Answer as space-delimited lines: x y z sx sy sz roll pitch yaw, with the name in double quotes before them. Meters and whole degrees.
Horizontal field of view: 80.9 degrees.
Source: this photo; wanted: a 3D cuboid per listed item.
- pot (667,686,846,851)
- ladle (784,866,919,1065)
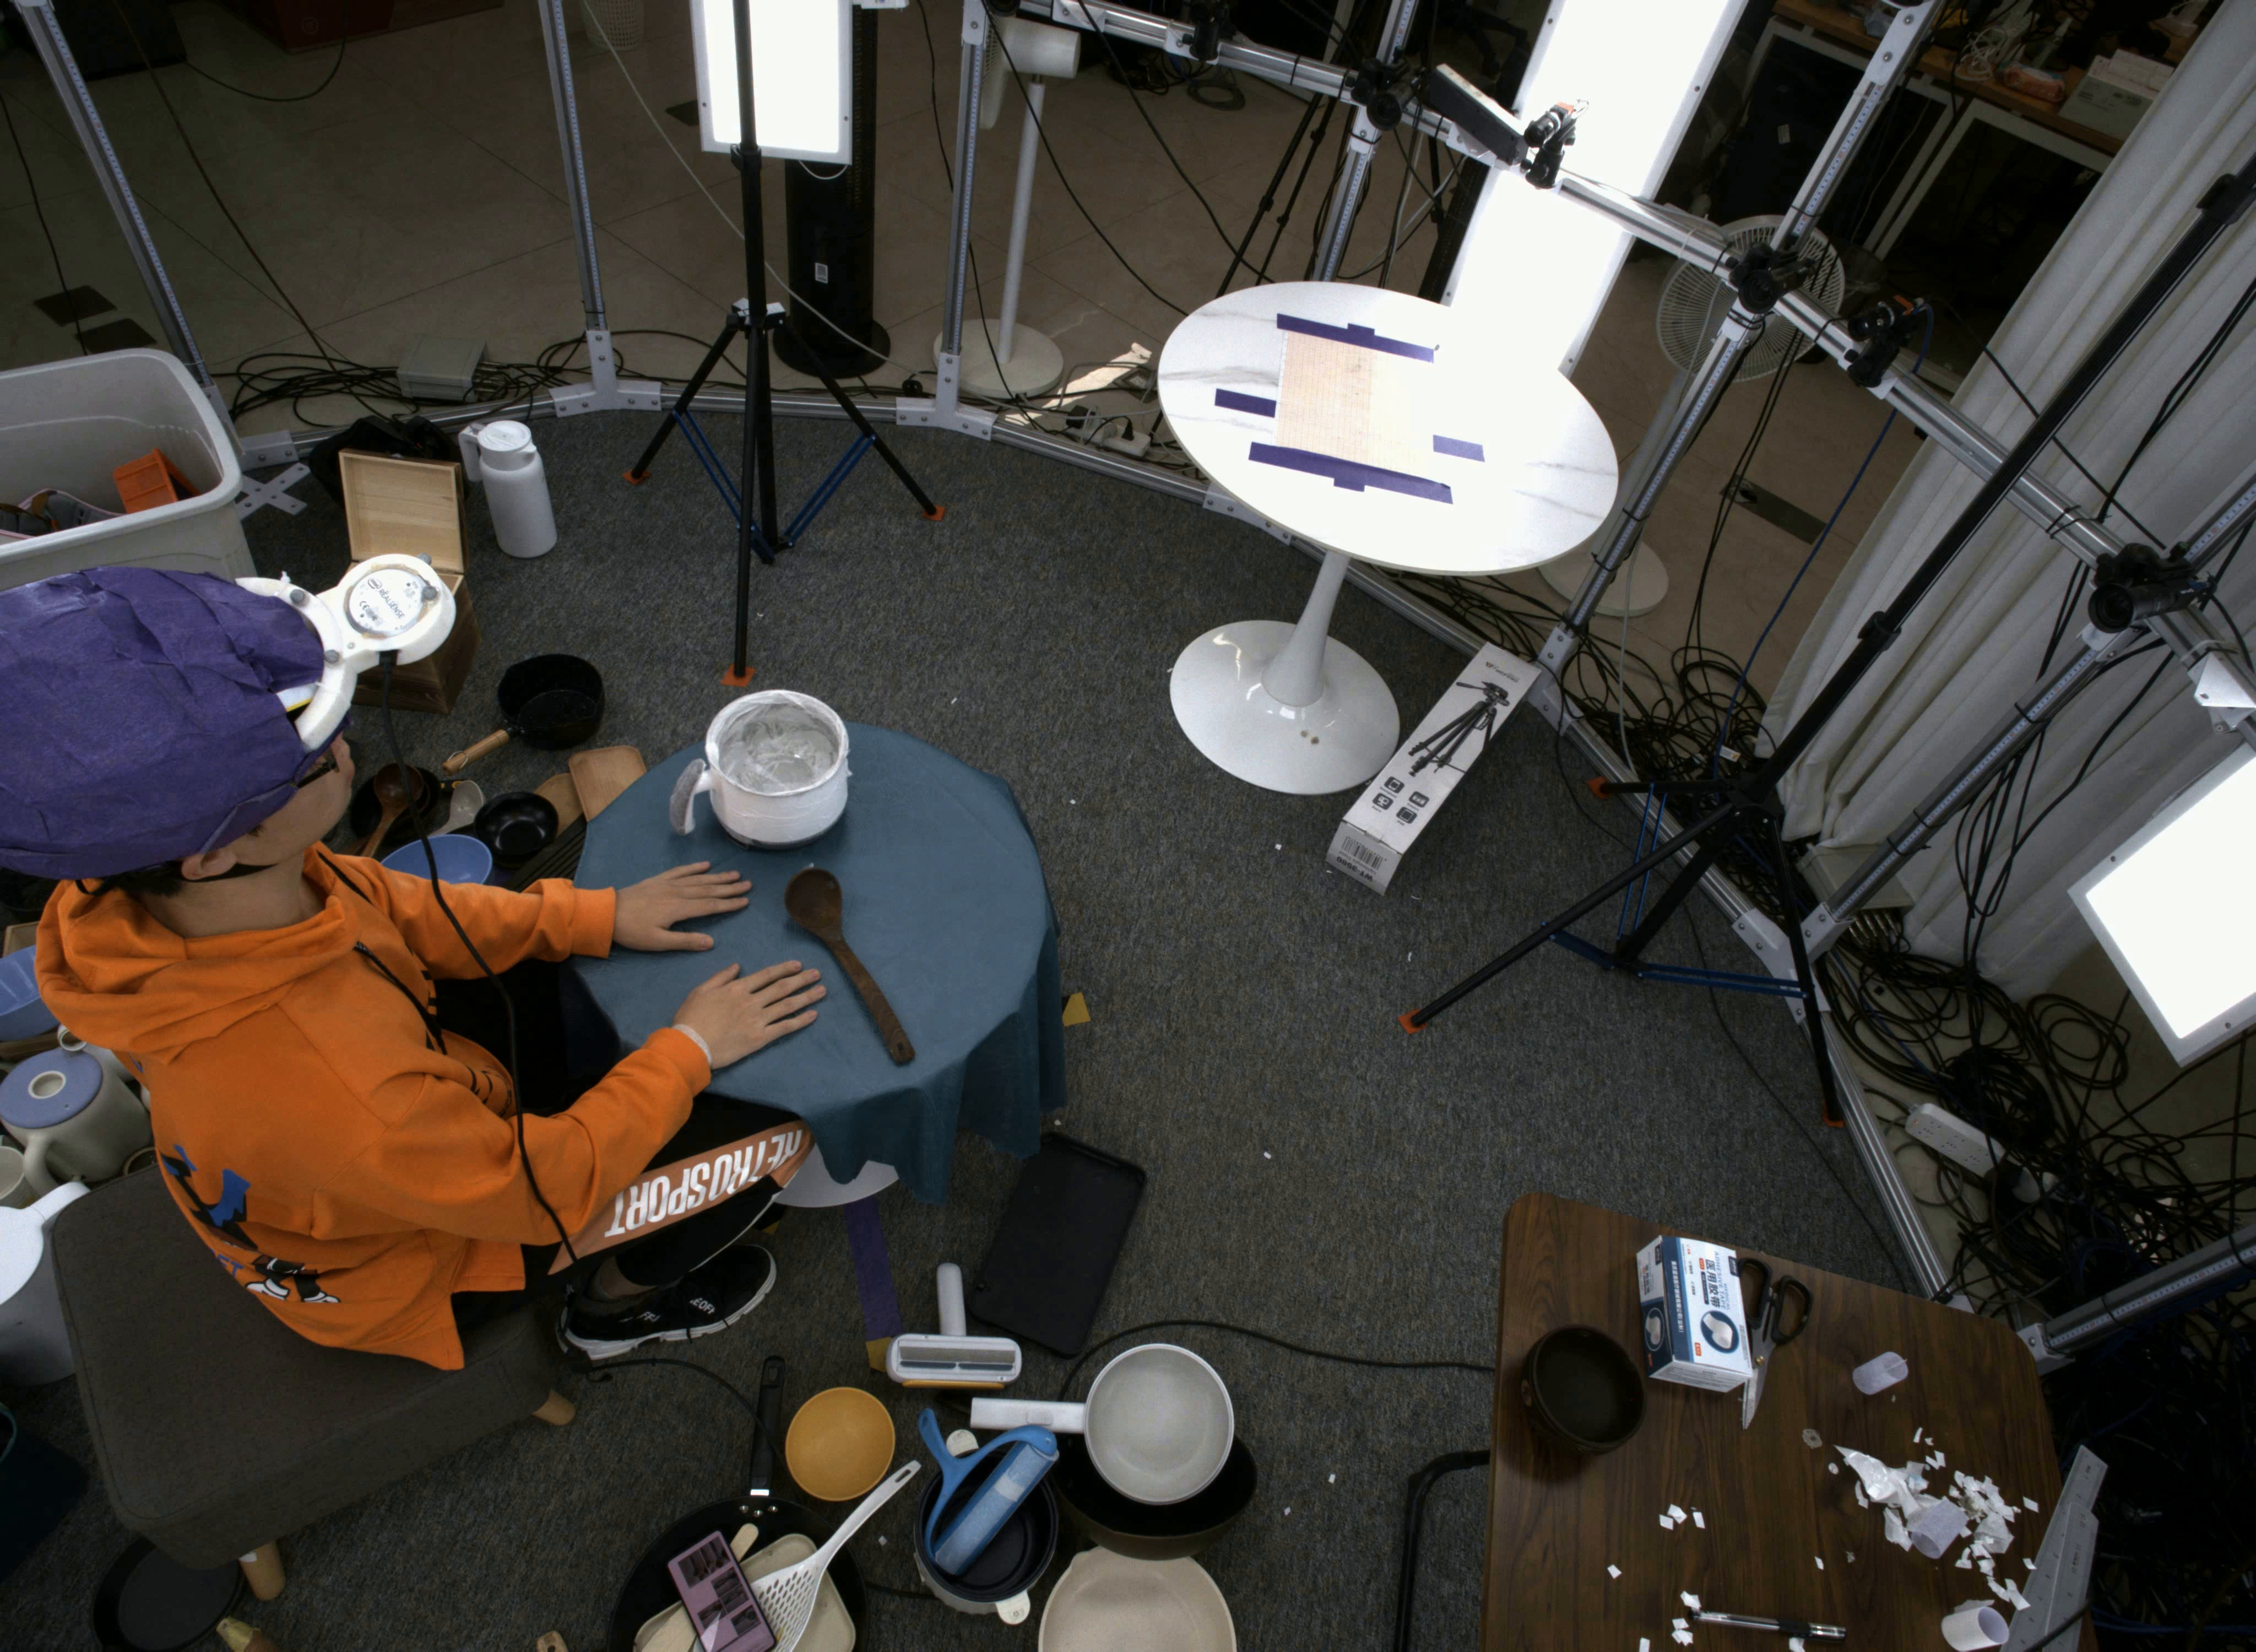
"pot" -0.477 -0.061 1.657 0.235 0.139 0.174 -21 60 -28
"ladle" -0.331 0.162 1.572 0.076 0.073 0.267 -26 63 -27
